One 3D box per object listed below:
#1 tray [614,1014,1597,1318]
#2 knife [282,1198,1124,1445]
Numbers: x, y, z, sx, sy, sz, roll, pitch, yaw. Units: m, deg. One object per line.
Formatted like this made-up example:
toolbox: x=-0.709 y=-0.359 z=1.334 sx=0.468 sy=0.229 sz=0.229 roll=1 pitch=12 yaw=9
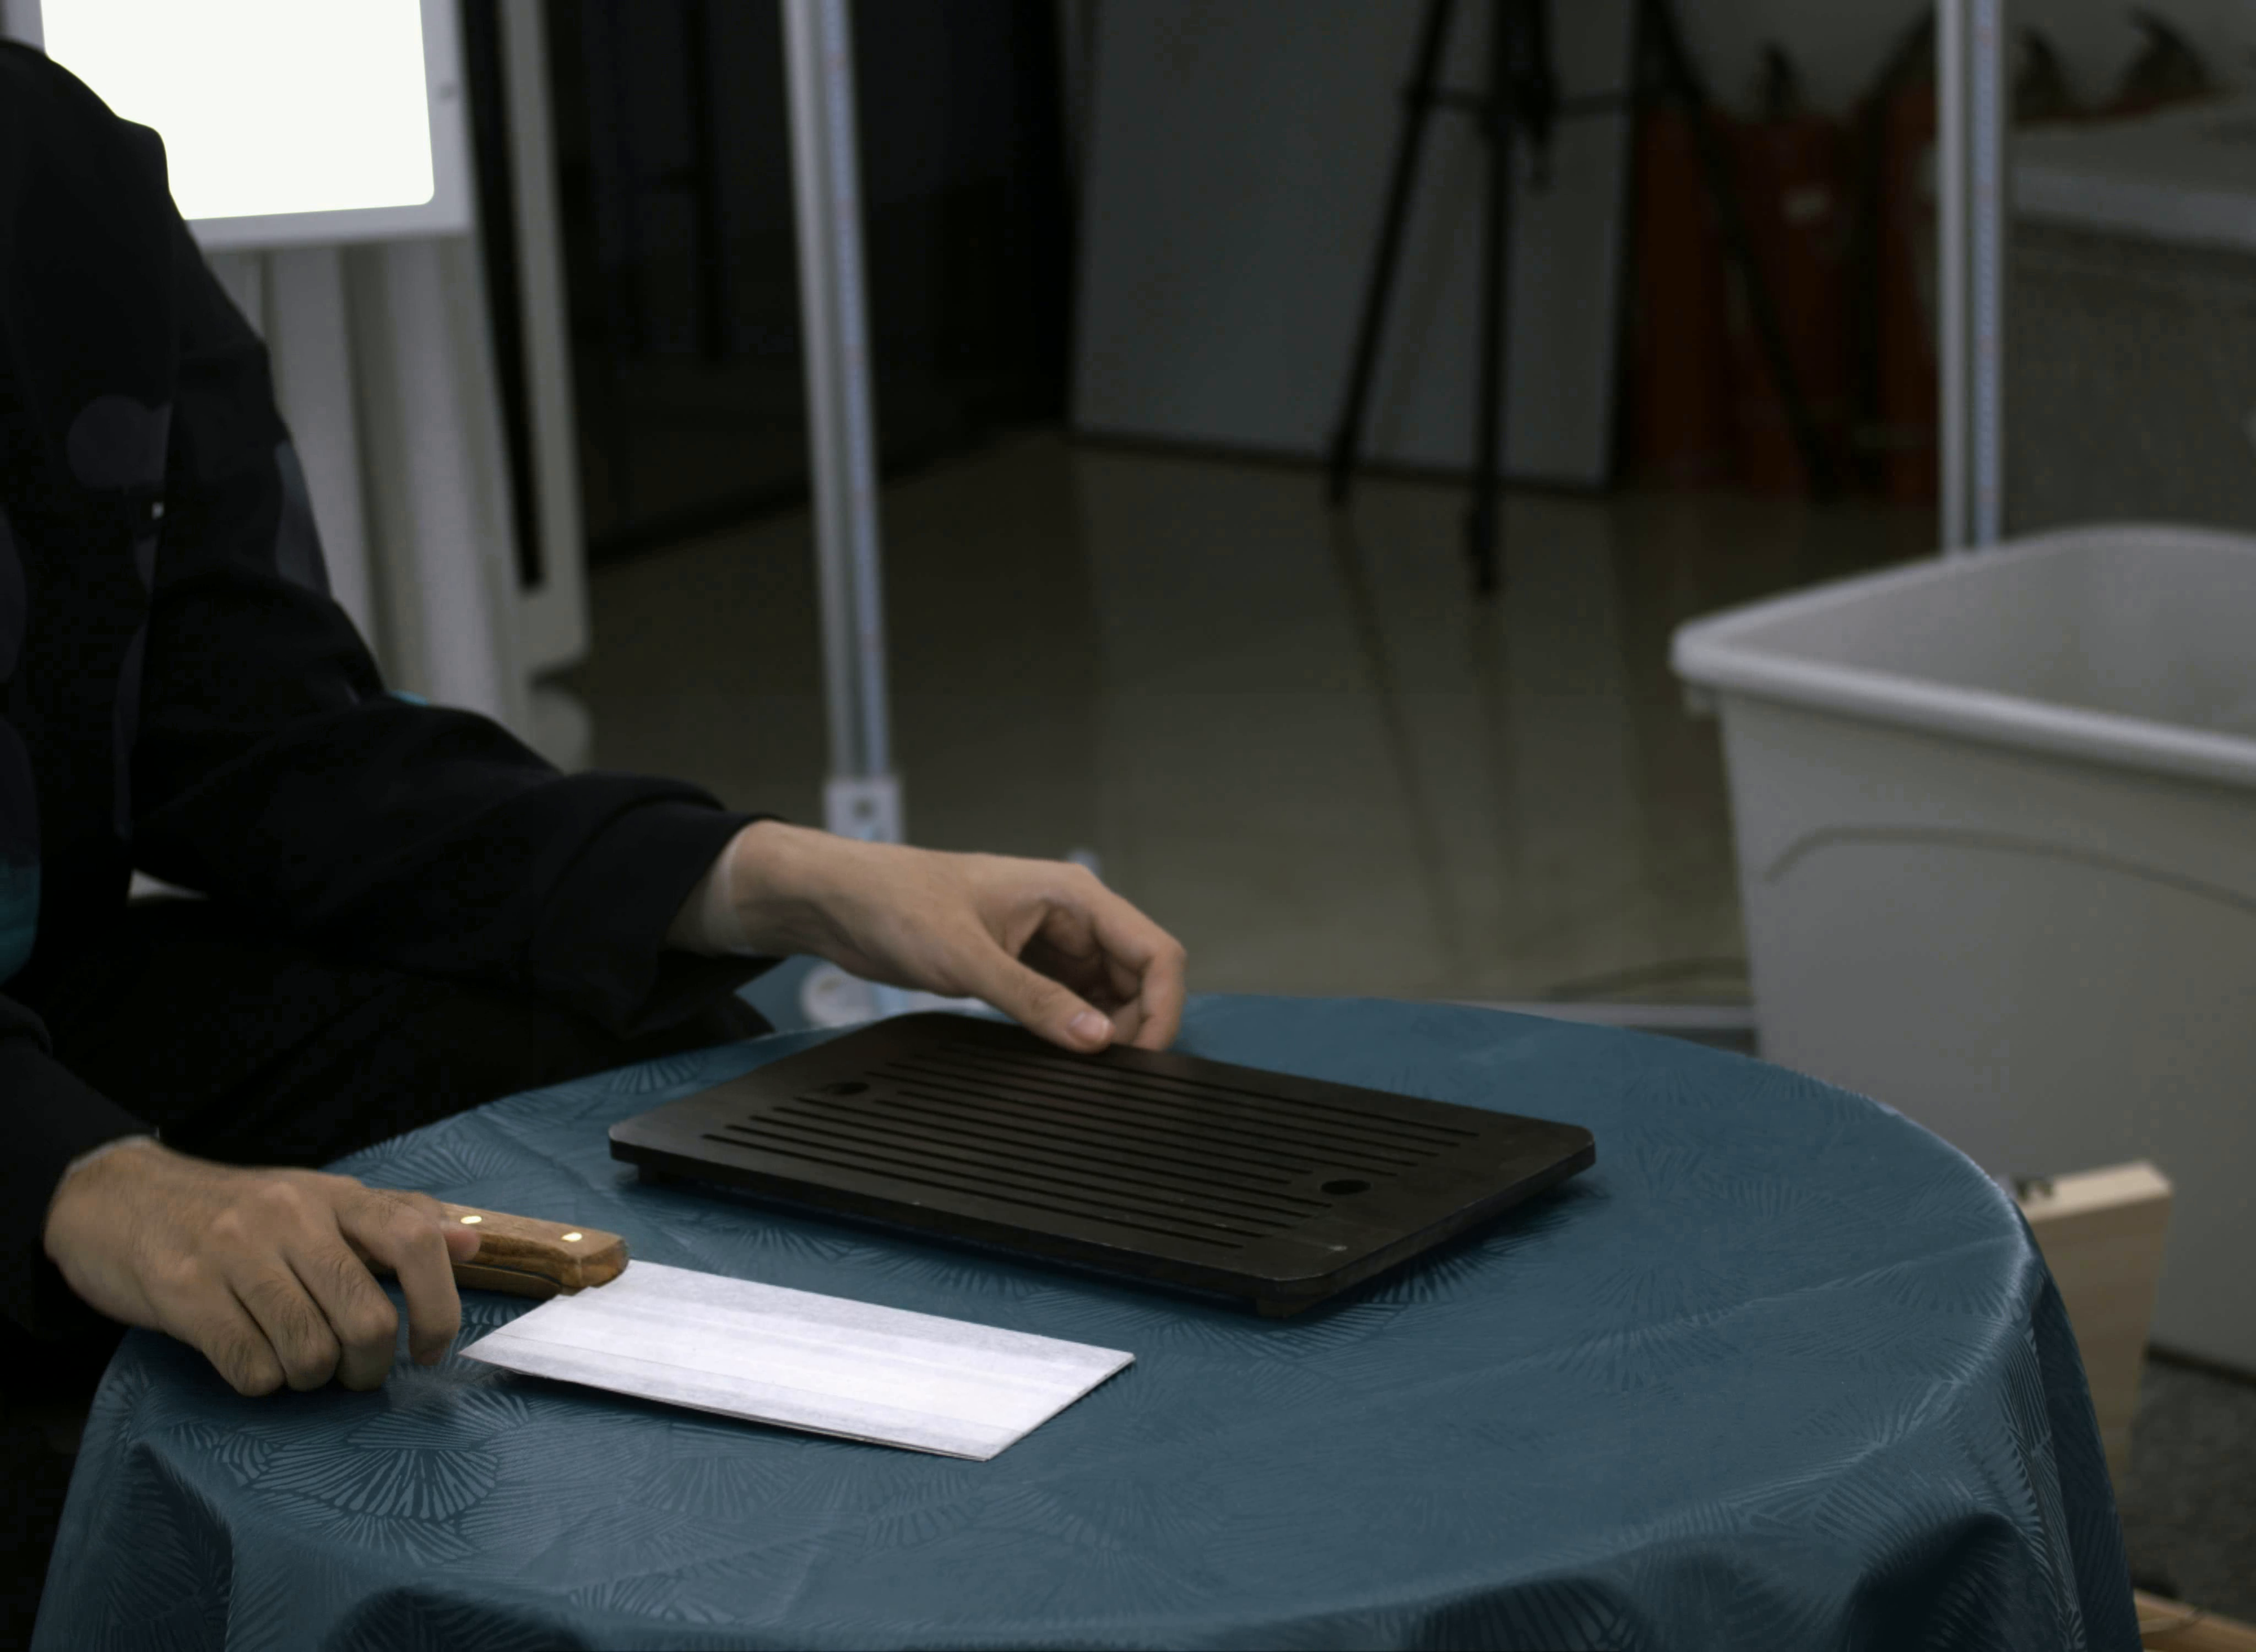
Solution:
tray: x=-0.010 y=0.109 z=1.783 sx=0.308 sy=0.019 sz=0.167 roll=8 pitch=19 yaw=40
knife: x=-0.148 y=0.154 z=1.651 sx=0.307 sy=0.021 sz=0.091 roll=7 pitch=19 yaw=31
